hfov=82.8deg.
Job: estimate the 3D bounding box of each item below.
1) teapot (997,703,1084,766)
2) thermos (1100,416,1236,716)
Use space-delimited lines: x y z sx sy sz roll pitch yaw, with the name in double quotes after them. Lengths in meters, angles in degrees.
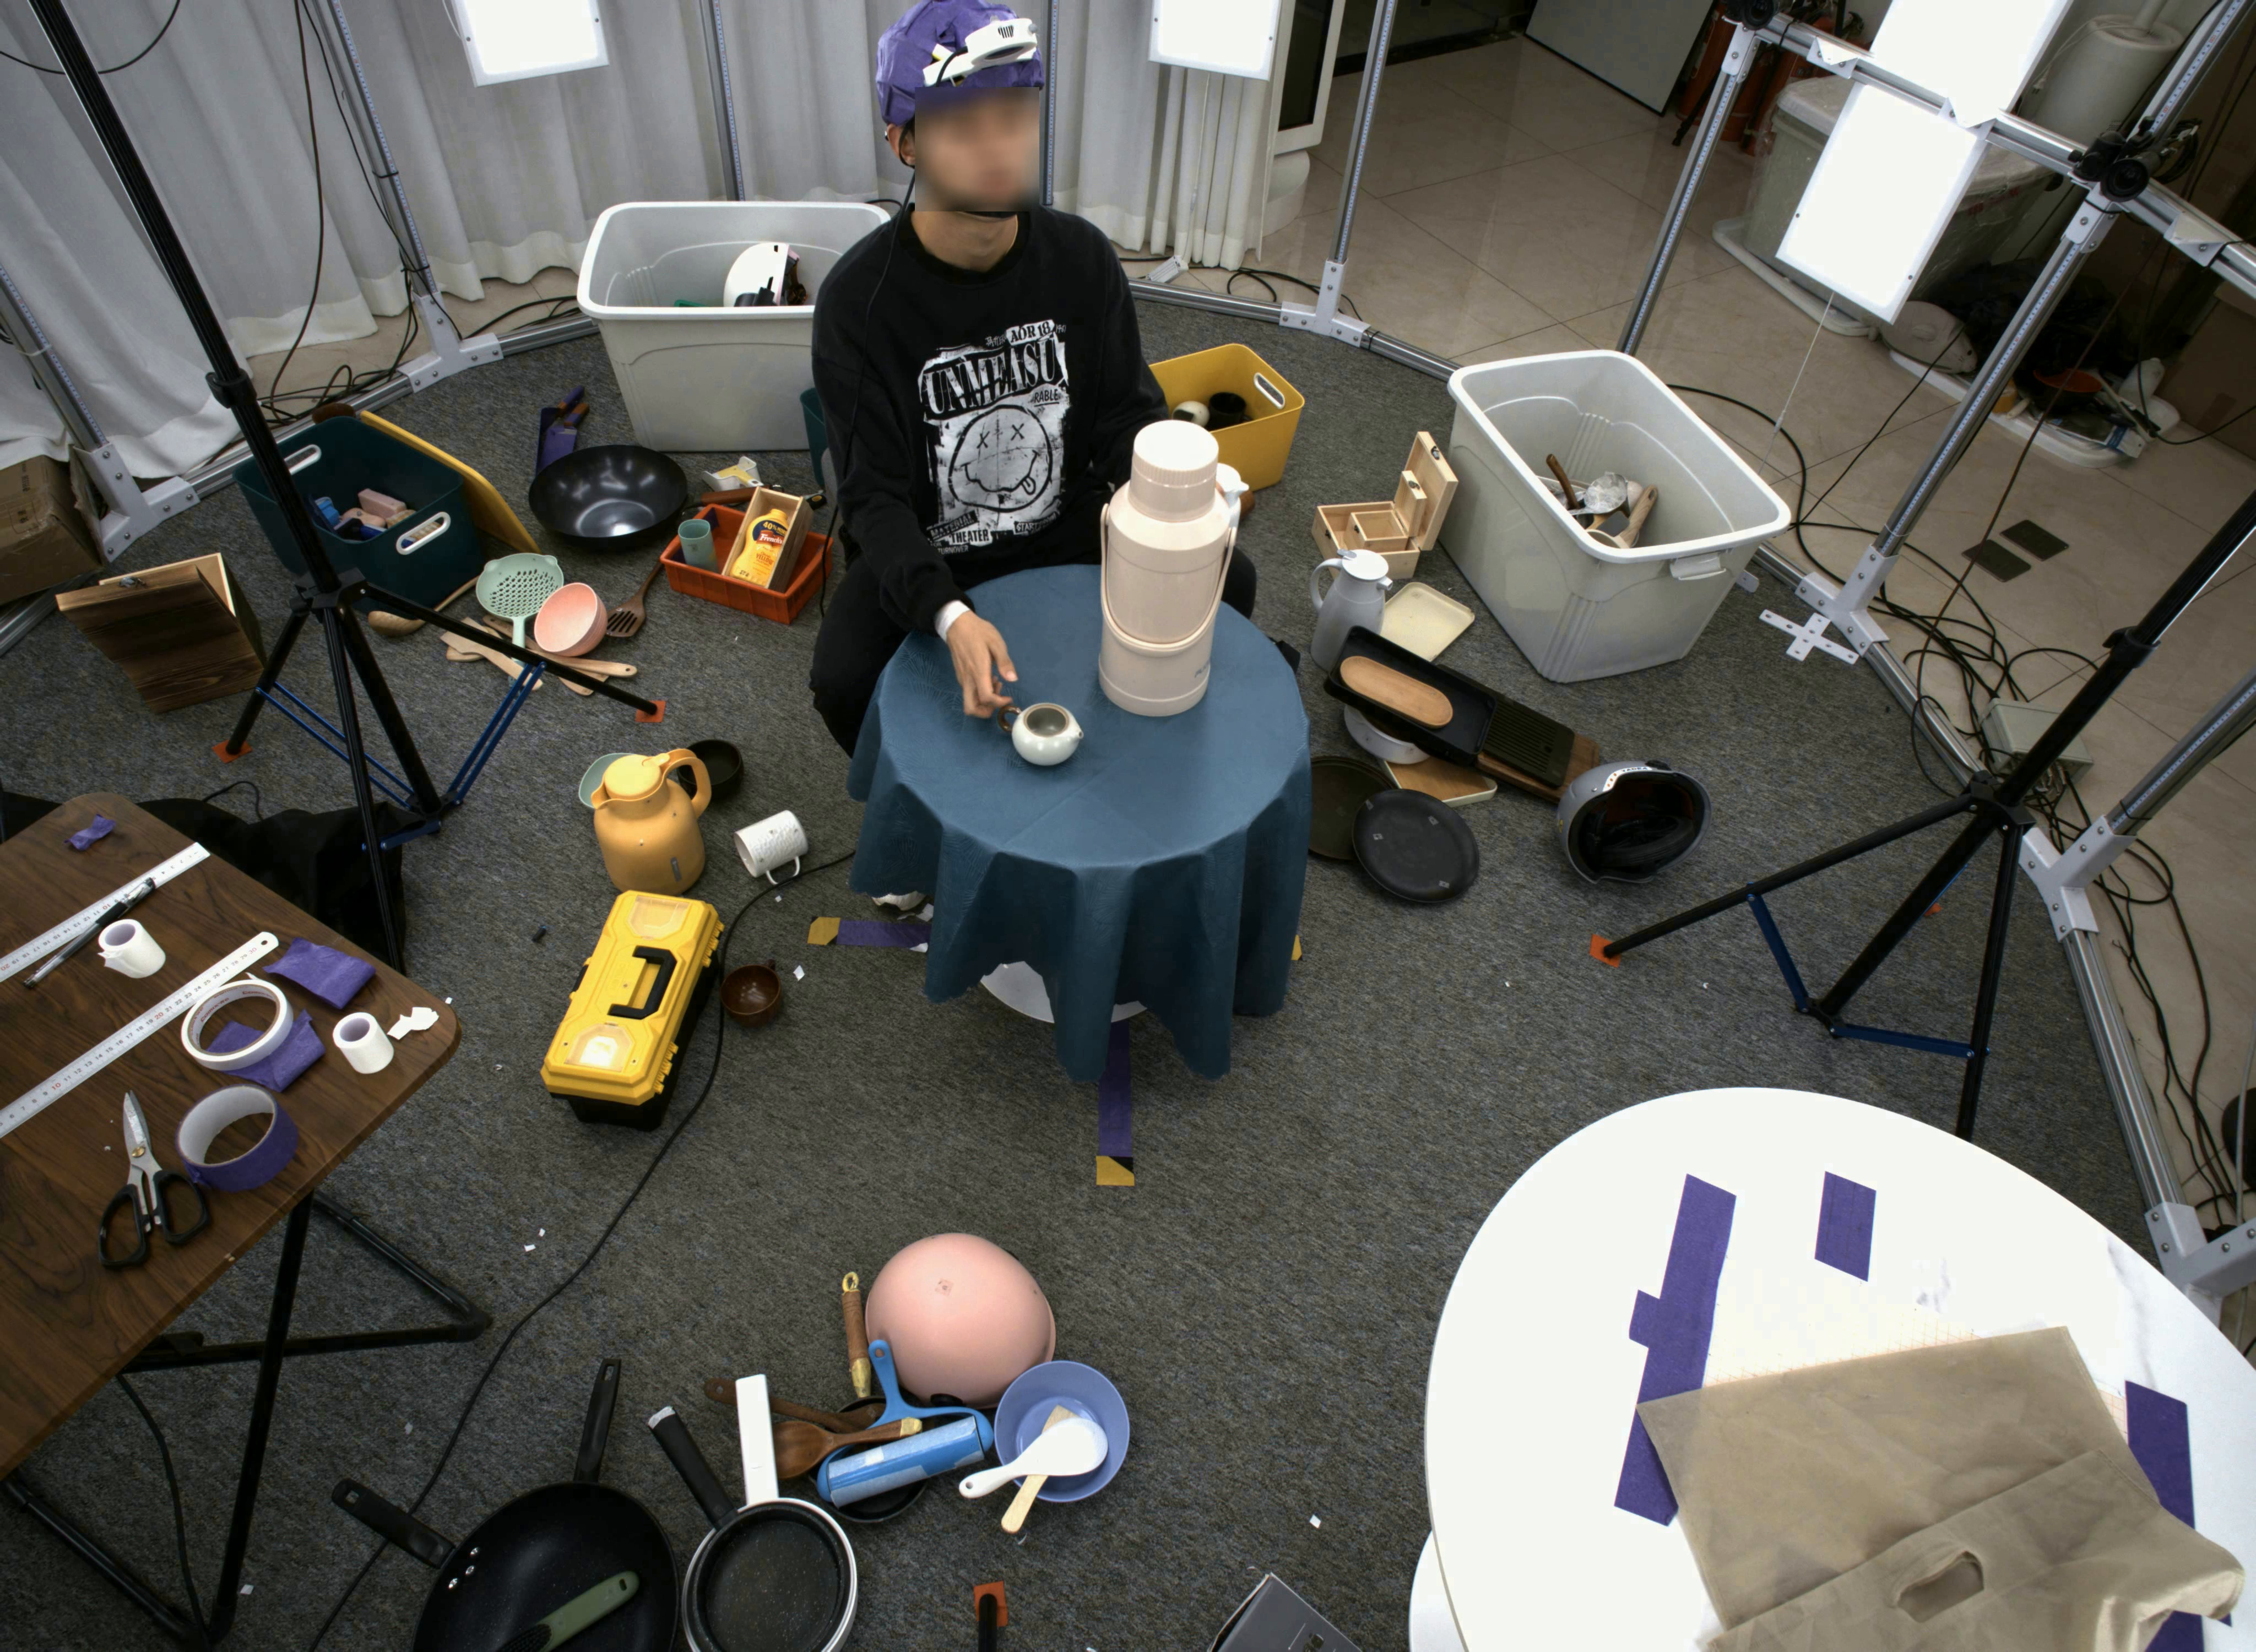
-0.119 -0.127 1.735 0.128 0.058 0.093 21 54 12 "teapot"
0.053 -0.350 1.721 0.175 0.396 0.212 10 50 6 "thermos"
